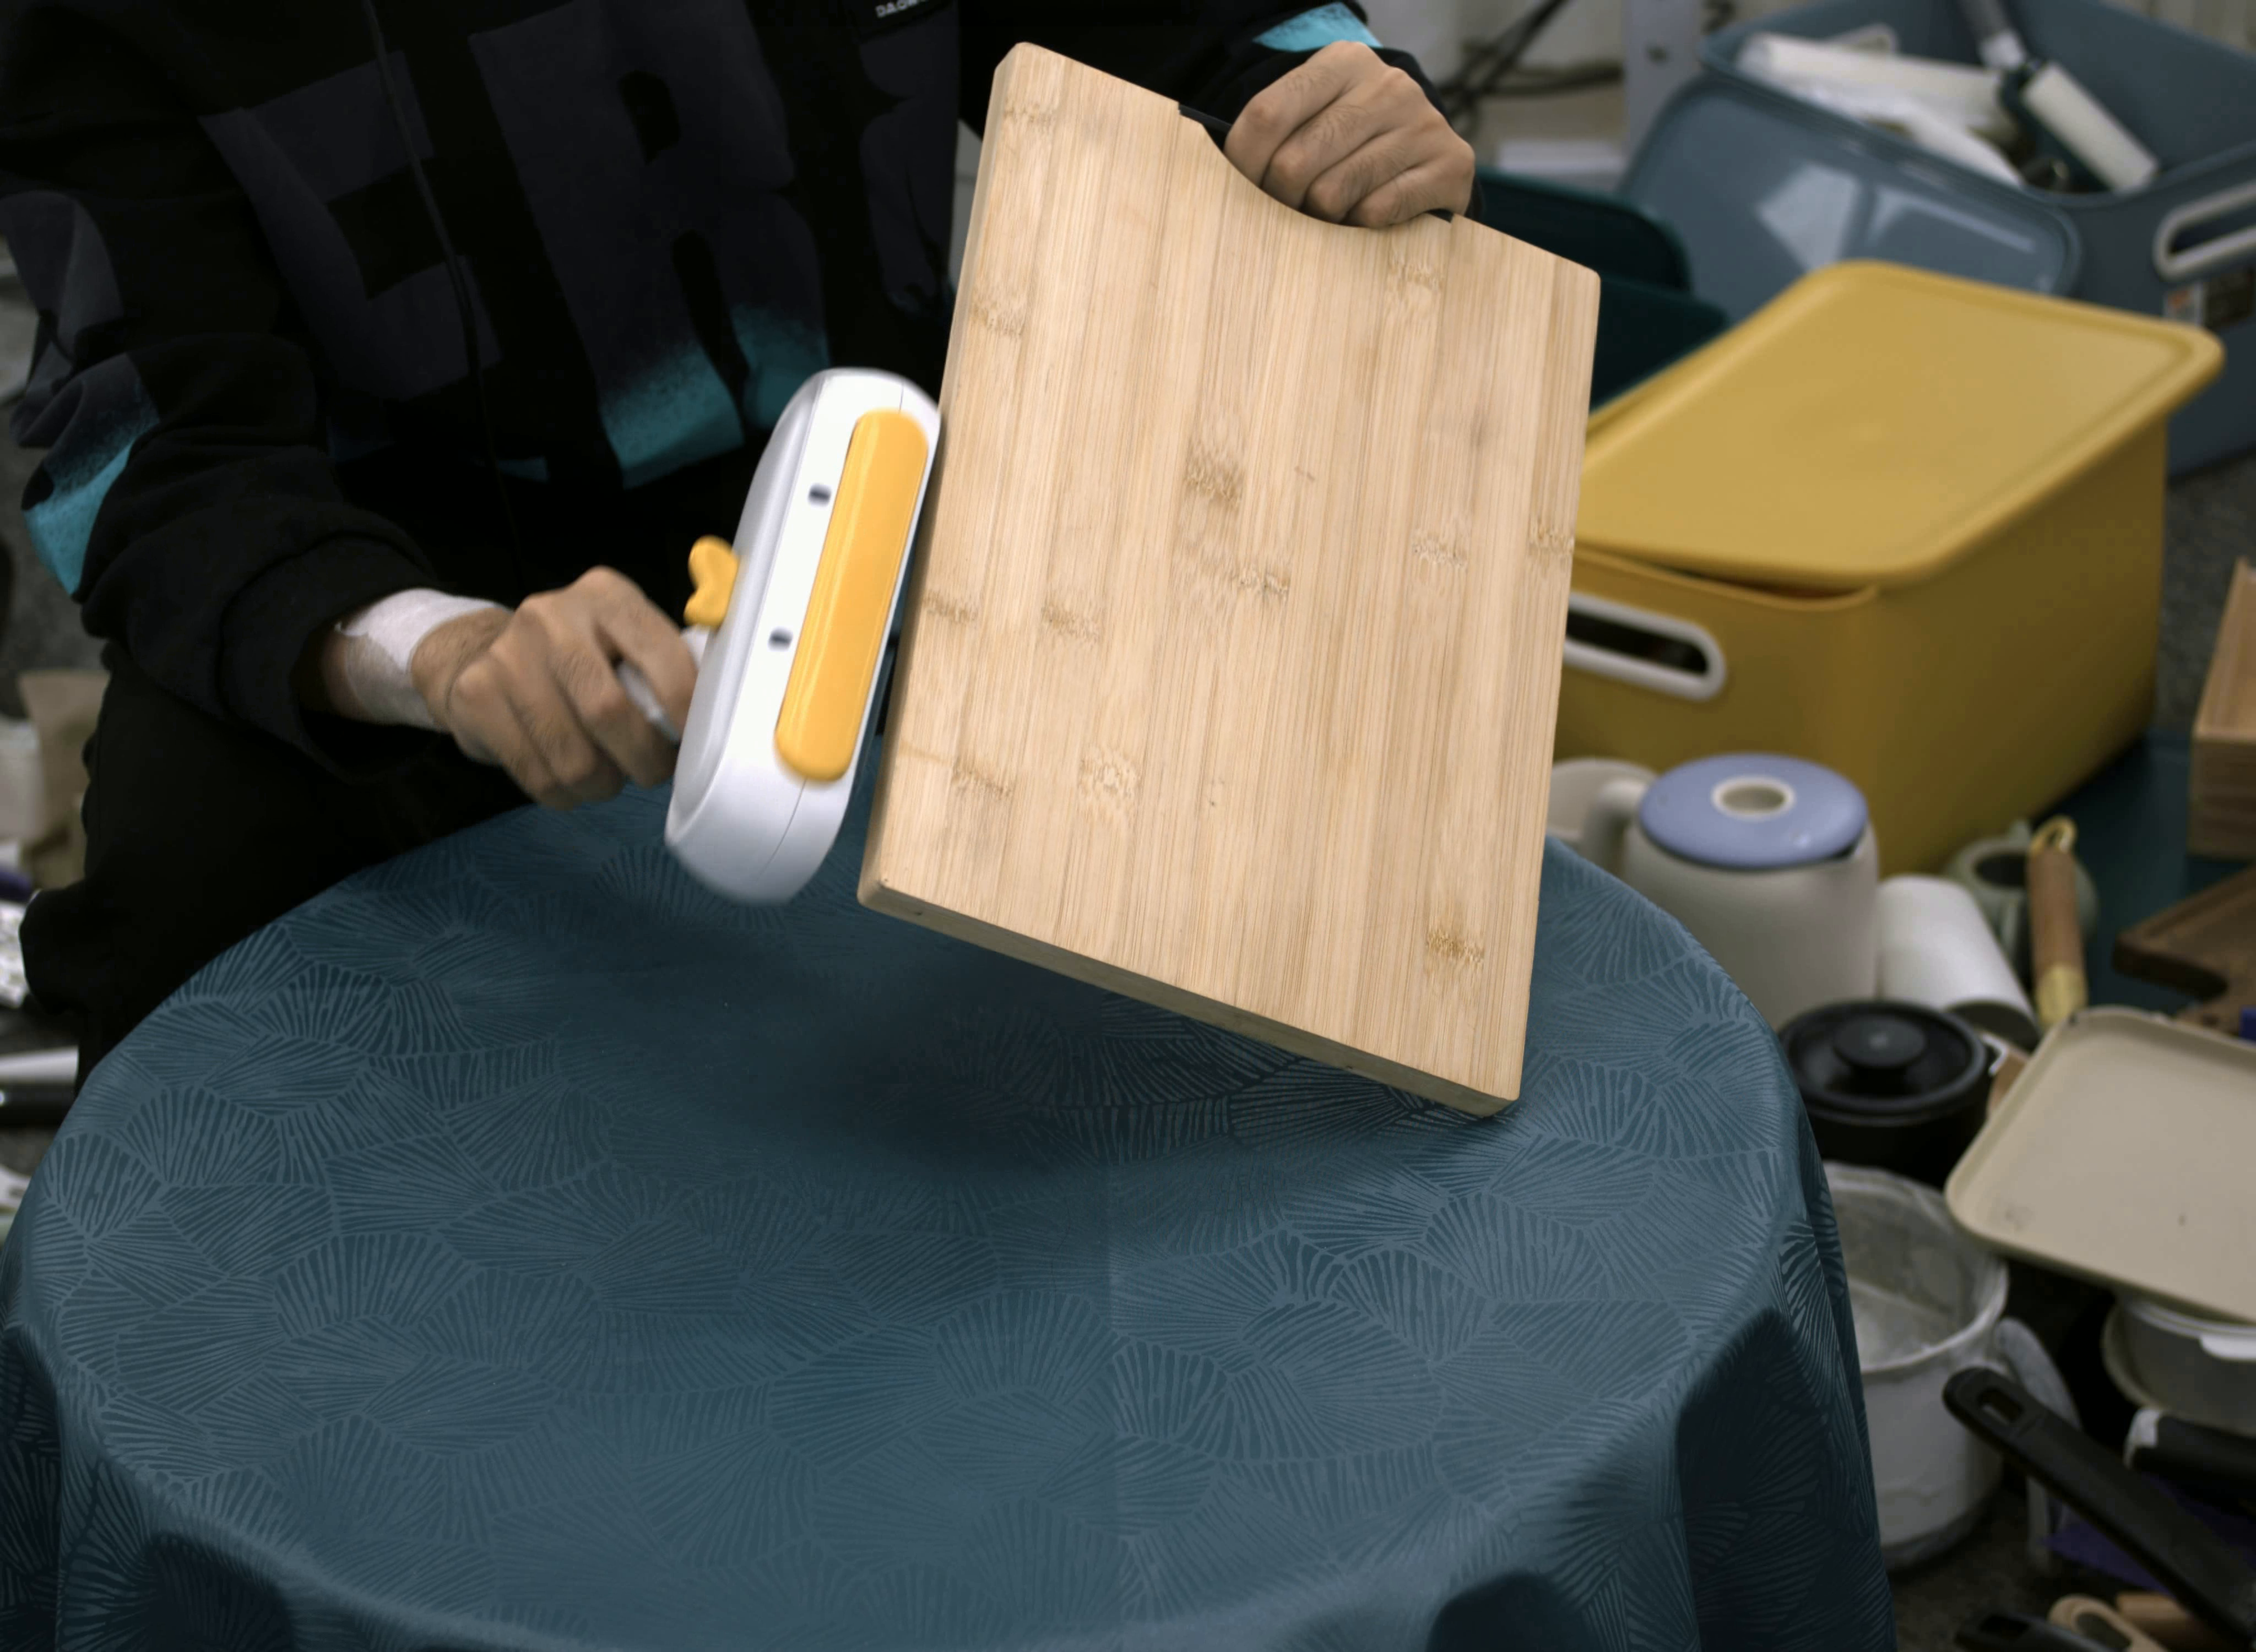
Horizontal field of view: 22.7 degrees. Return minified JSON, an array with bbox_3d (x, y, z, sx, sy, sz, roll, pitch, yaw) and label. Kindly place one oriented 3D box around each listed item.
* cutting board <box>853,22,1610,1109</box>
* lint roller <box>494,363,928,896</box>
[{"bbox_3d":[0.043,-0.093,1.938,0.250,0.023,0.355,20,58,-20],"label":"cutting board"},{"bbox_3d":[-0.145,-0.047,1.905,0.074,0.189,0.196,24,55,-26],"label":"lint roller"}]
